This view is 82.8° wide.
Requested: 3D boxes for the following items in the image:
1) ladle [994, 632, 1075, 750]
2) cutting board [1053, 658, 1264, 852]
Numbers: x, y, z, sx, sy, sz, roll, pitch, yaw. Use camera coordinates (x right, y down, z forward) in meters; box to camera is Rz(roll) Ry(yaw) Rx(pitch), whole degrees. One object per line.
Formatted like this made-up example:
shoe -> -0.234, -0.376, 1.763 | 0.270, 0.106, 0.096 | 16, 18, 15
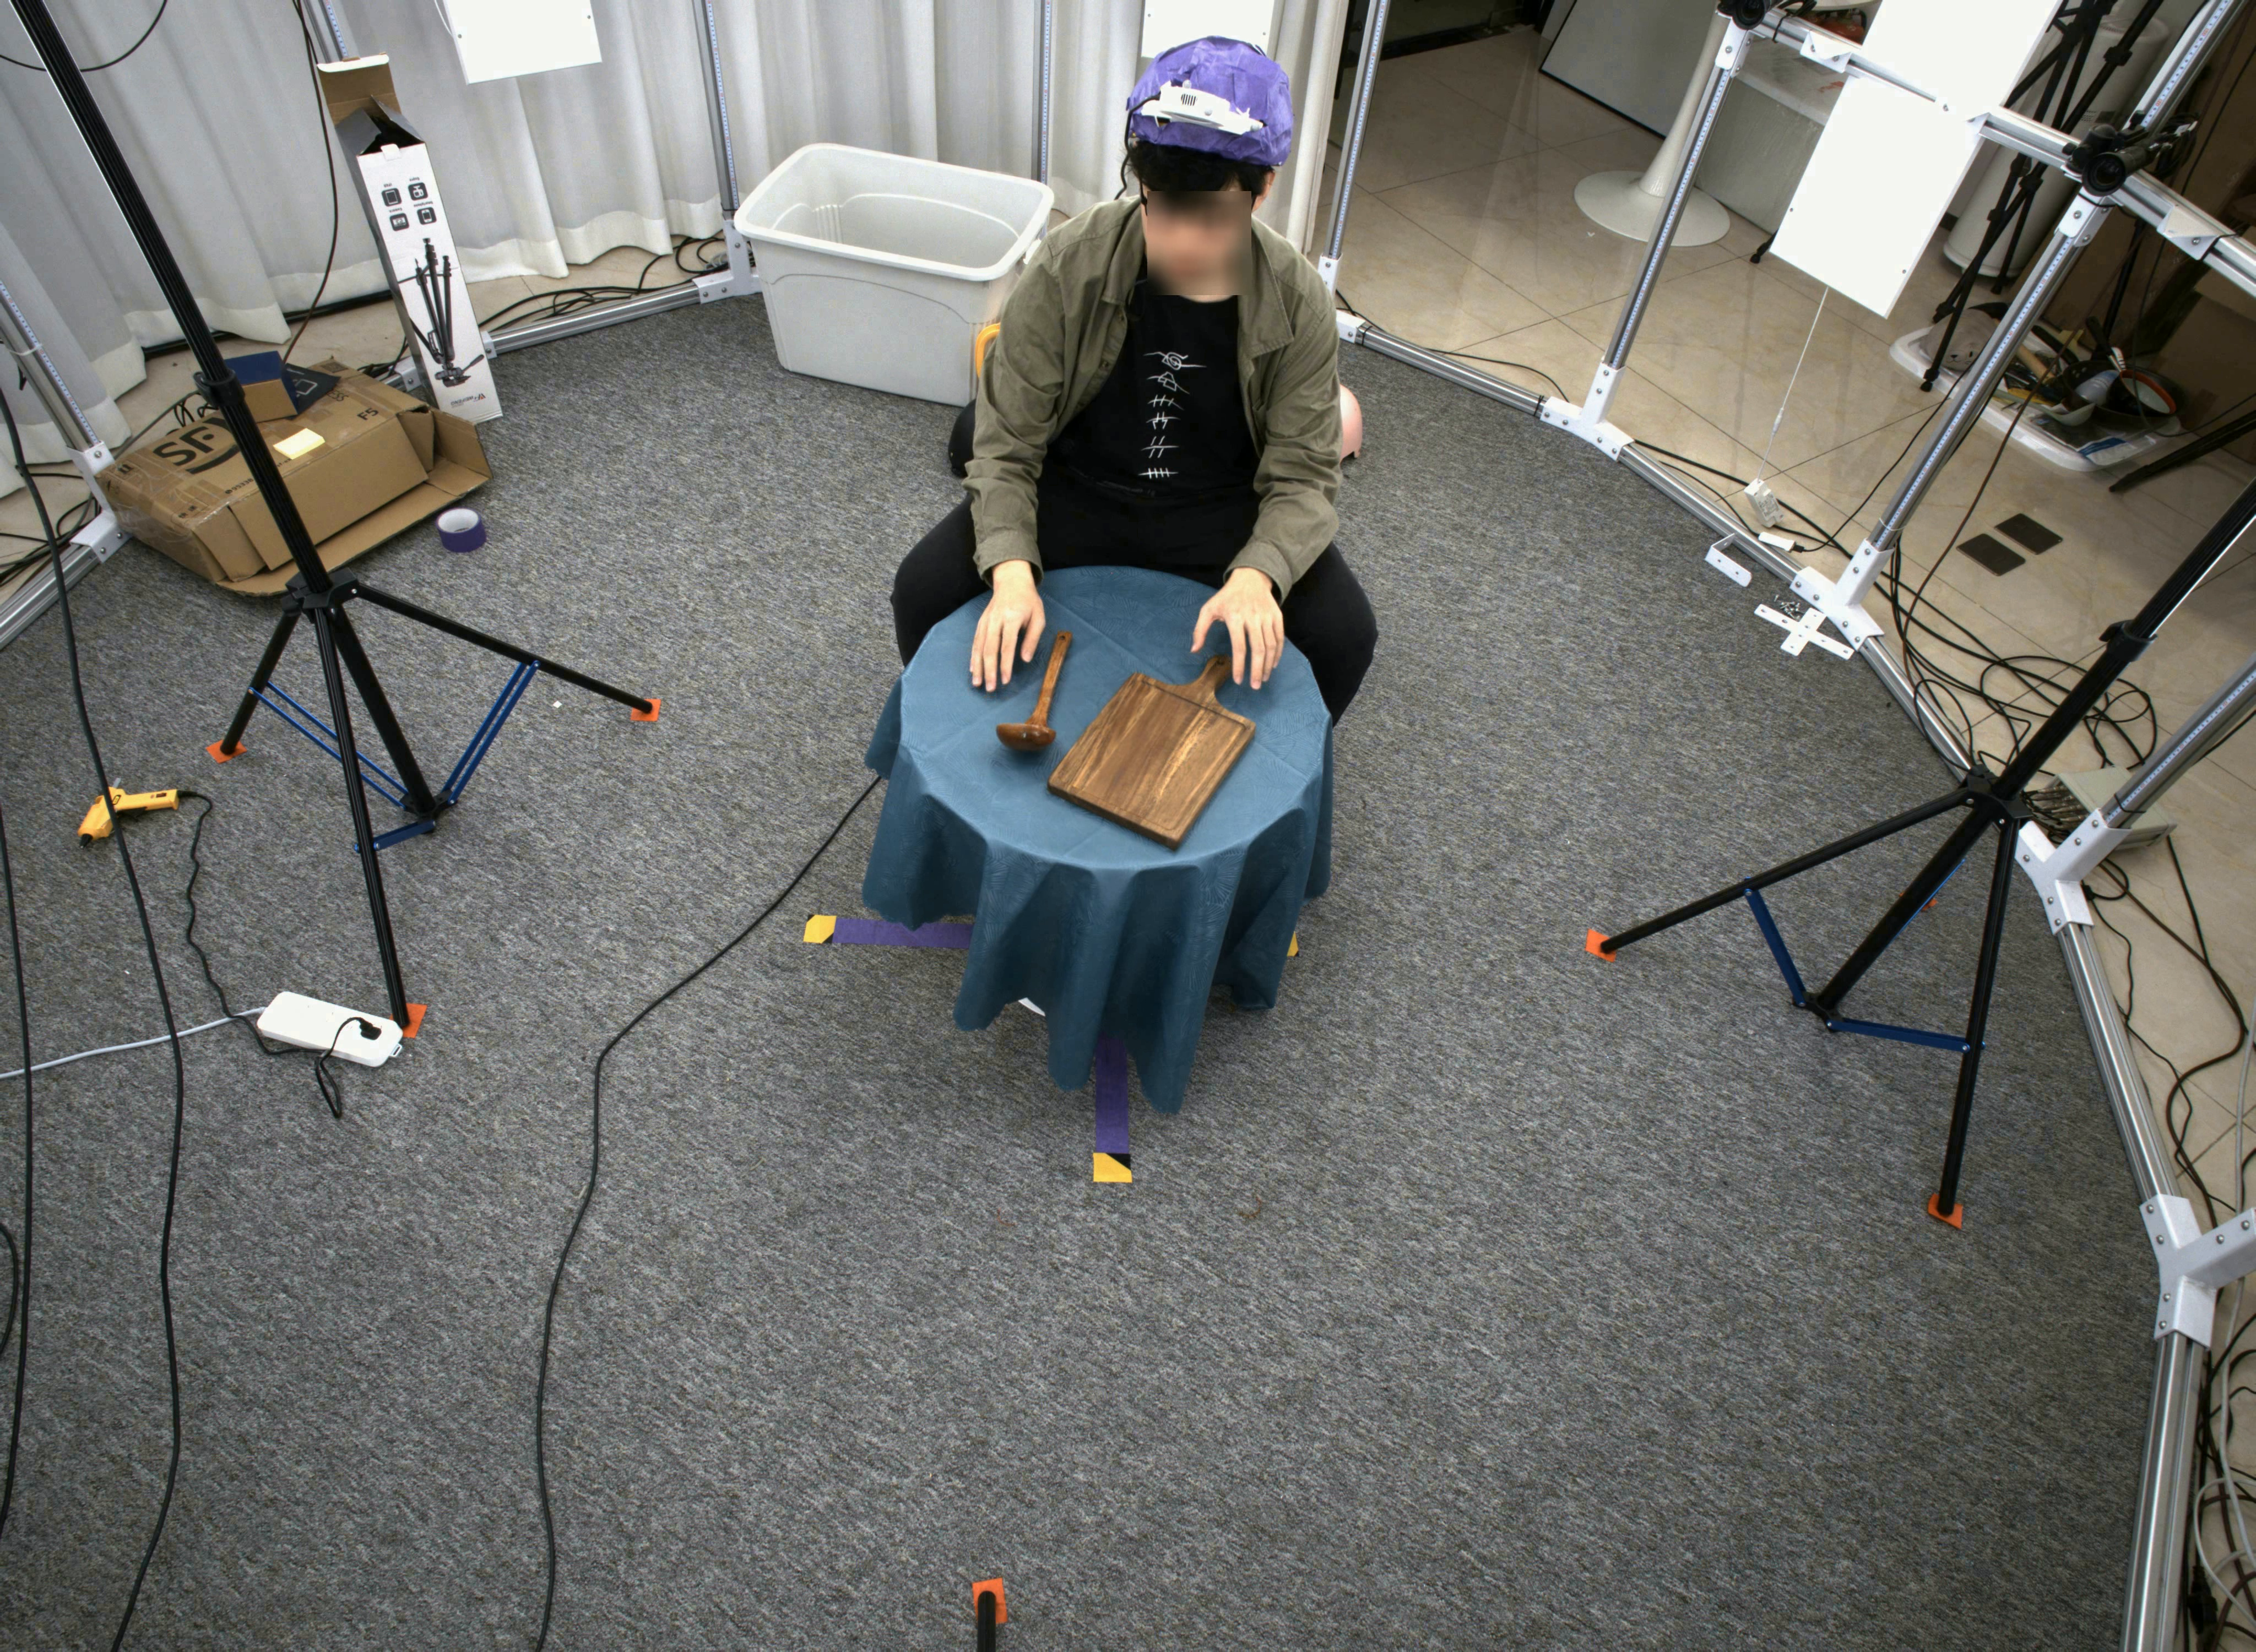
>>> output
ladle -> -0.119, -0.203, 1.777 | 0.082, 0.075, 0.280 | 7, 48, 8
cutting board -> 0.069, -0.122, 1.756 | 0.202, 0.022, 0.358 | 25, 51, 16
